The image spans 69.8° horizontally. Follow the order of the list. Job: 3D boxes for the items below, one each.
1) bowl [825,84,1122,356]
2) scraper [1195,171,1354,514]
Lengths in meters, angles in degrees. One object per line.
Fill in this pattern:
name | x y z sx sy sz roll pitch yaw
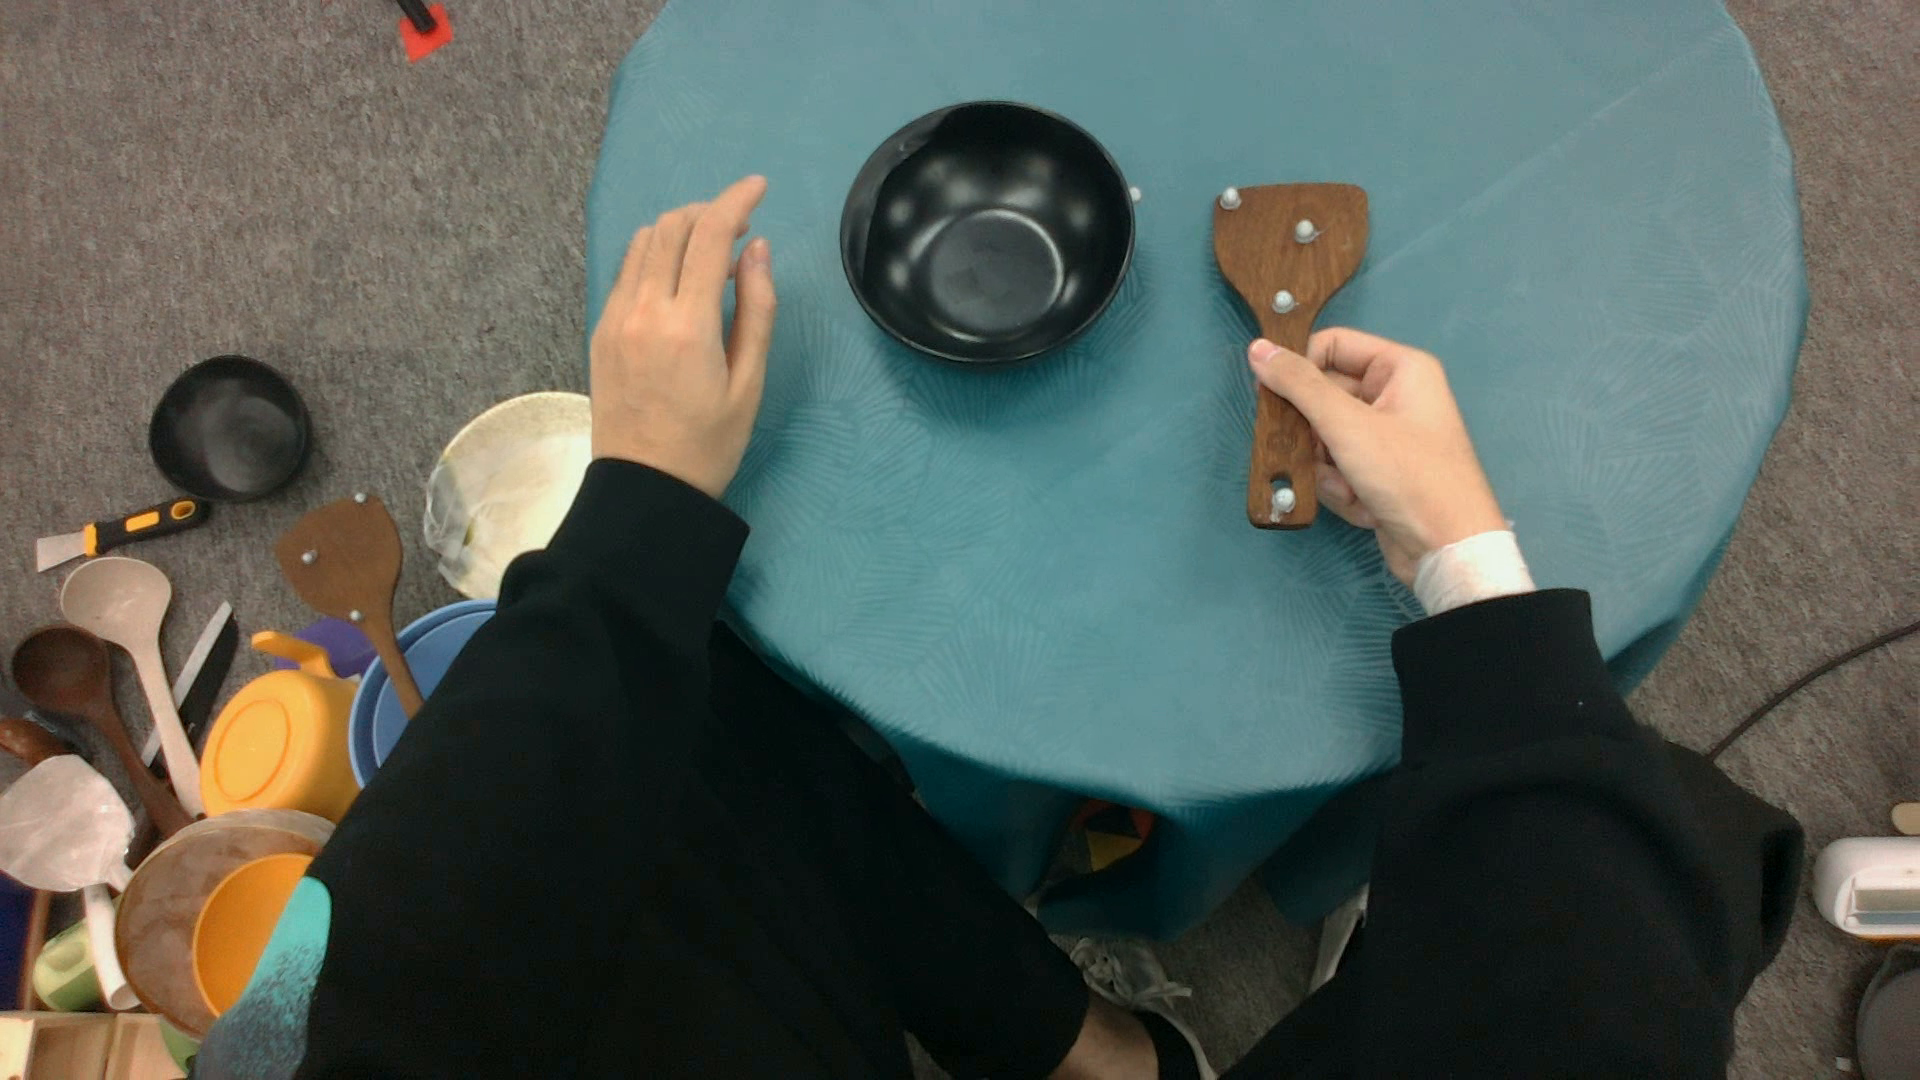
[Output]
bowl | 0.006 -0.146 0.662 0.140 0.049 0.140 0 73 1
scraper | 0.142 -0.096 0.625 0.076 0.011 0.212 3 54 11
